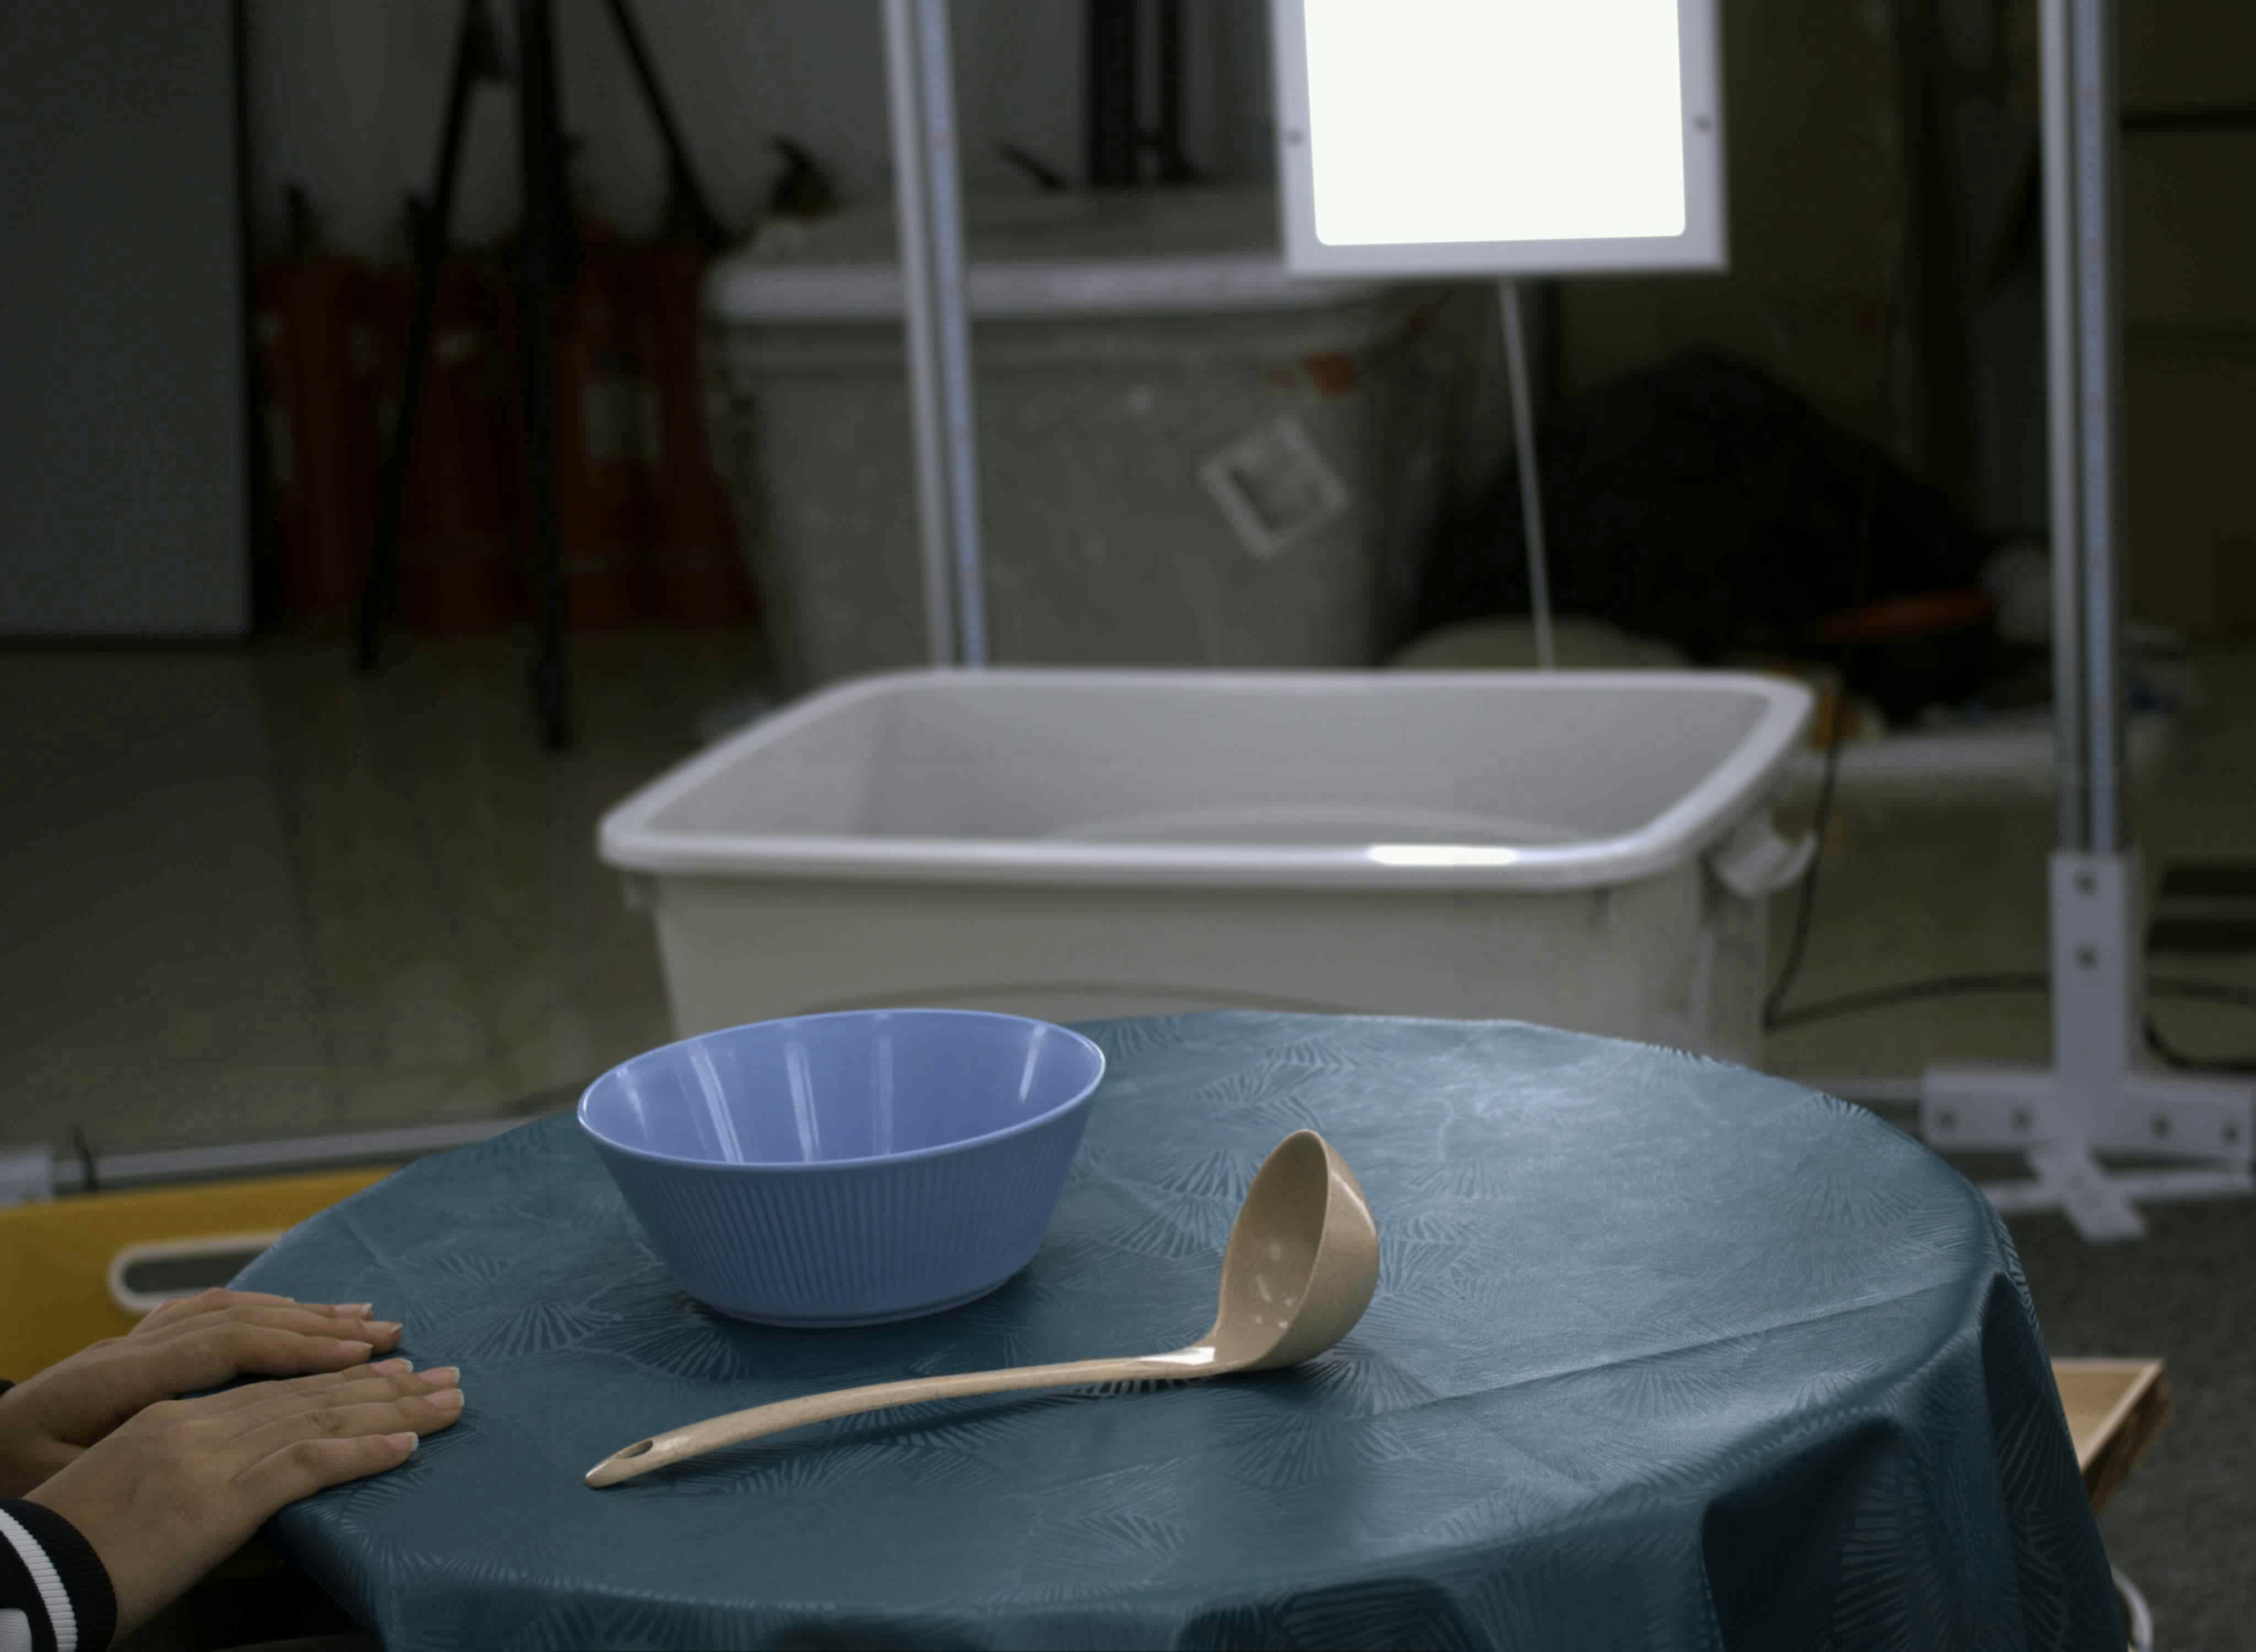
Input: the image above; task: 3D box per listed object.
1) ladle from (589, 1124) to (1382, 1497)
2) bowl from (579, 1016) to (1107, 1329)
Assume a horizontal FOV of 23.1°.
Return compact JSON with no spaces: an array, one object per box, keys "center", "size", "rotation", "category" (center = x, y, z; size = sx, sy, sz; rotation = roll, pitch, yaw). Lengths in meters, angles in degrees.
[{"center":[-0.045,0.146,1.683],"size":[0.250,0.073,0.073],"rotation":[-9,13,-16],"category":"ladle"},{"center":[-0.092,0.117,1.826],"size":[0.175,0.070,0.176],"rotation":[-5,12,0],"category":"bowl"}]
